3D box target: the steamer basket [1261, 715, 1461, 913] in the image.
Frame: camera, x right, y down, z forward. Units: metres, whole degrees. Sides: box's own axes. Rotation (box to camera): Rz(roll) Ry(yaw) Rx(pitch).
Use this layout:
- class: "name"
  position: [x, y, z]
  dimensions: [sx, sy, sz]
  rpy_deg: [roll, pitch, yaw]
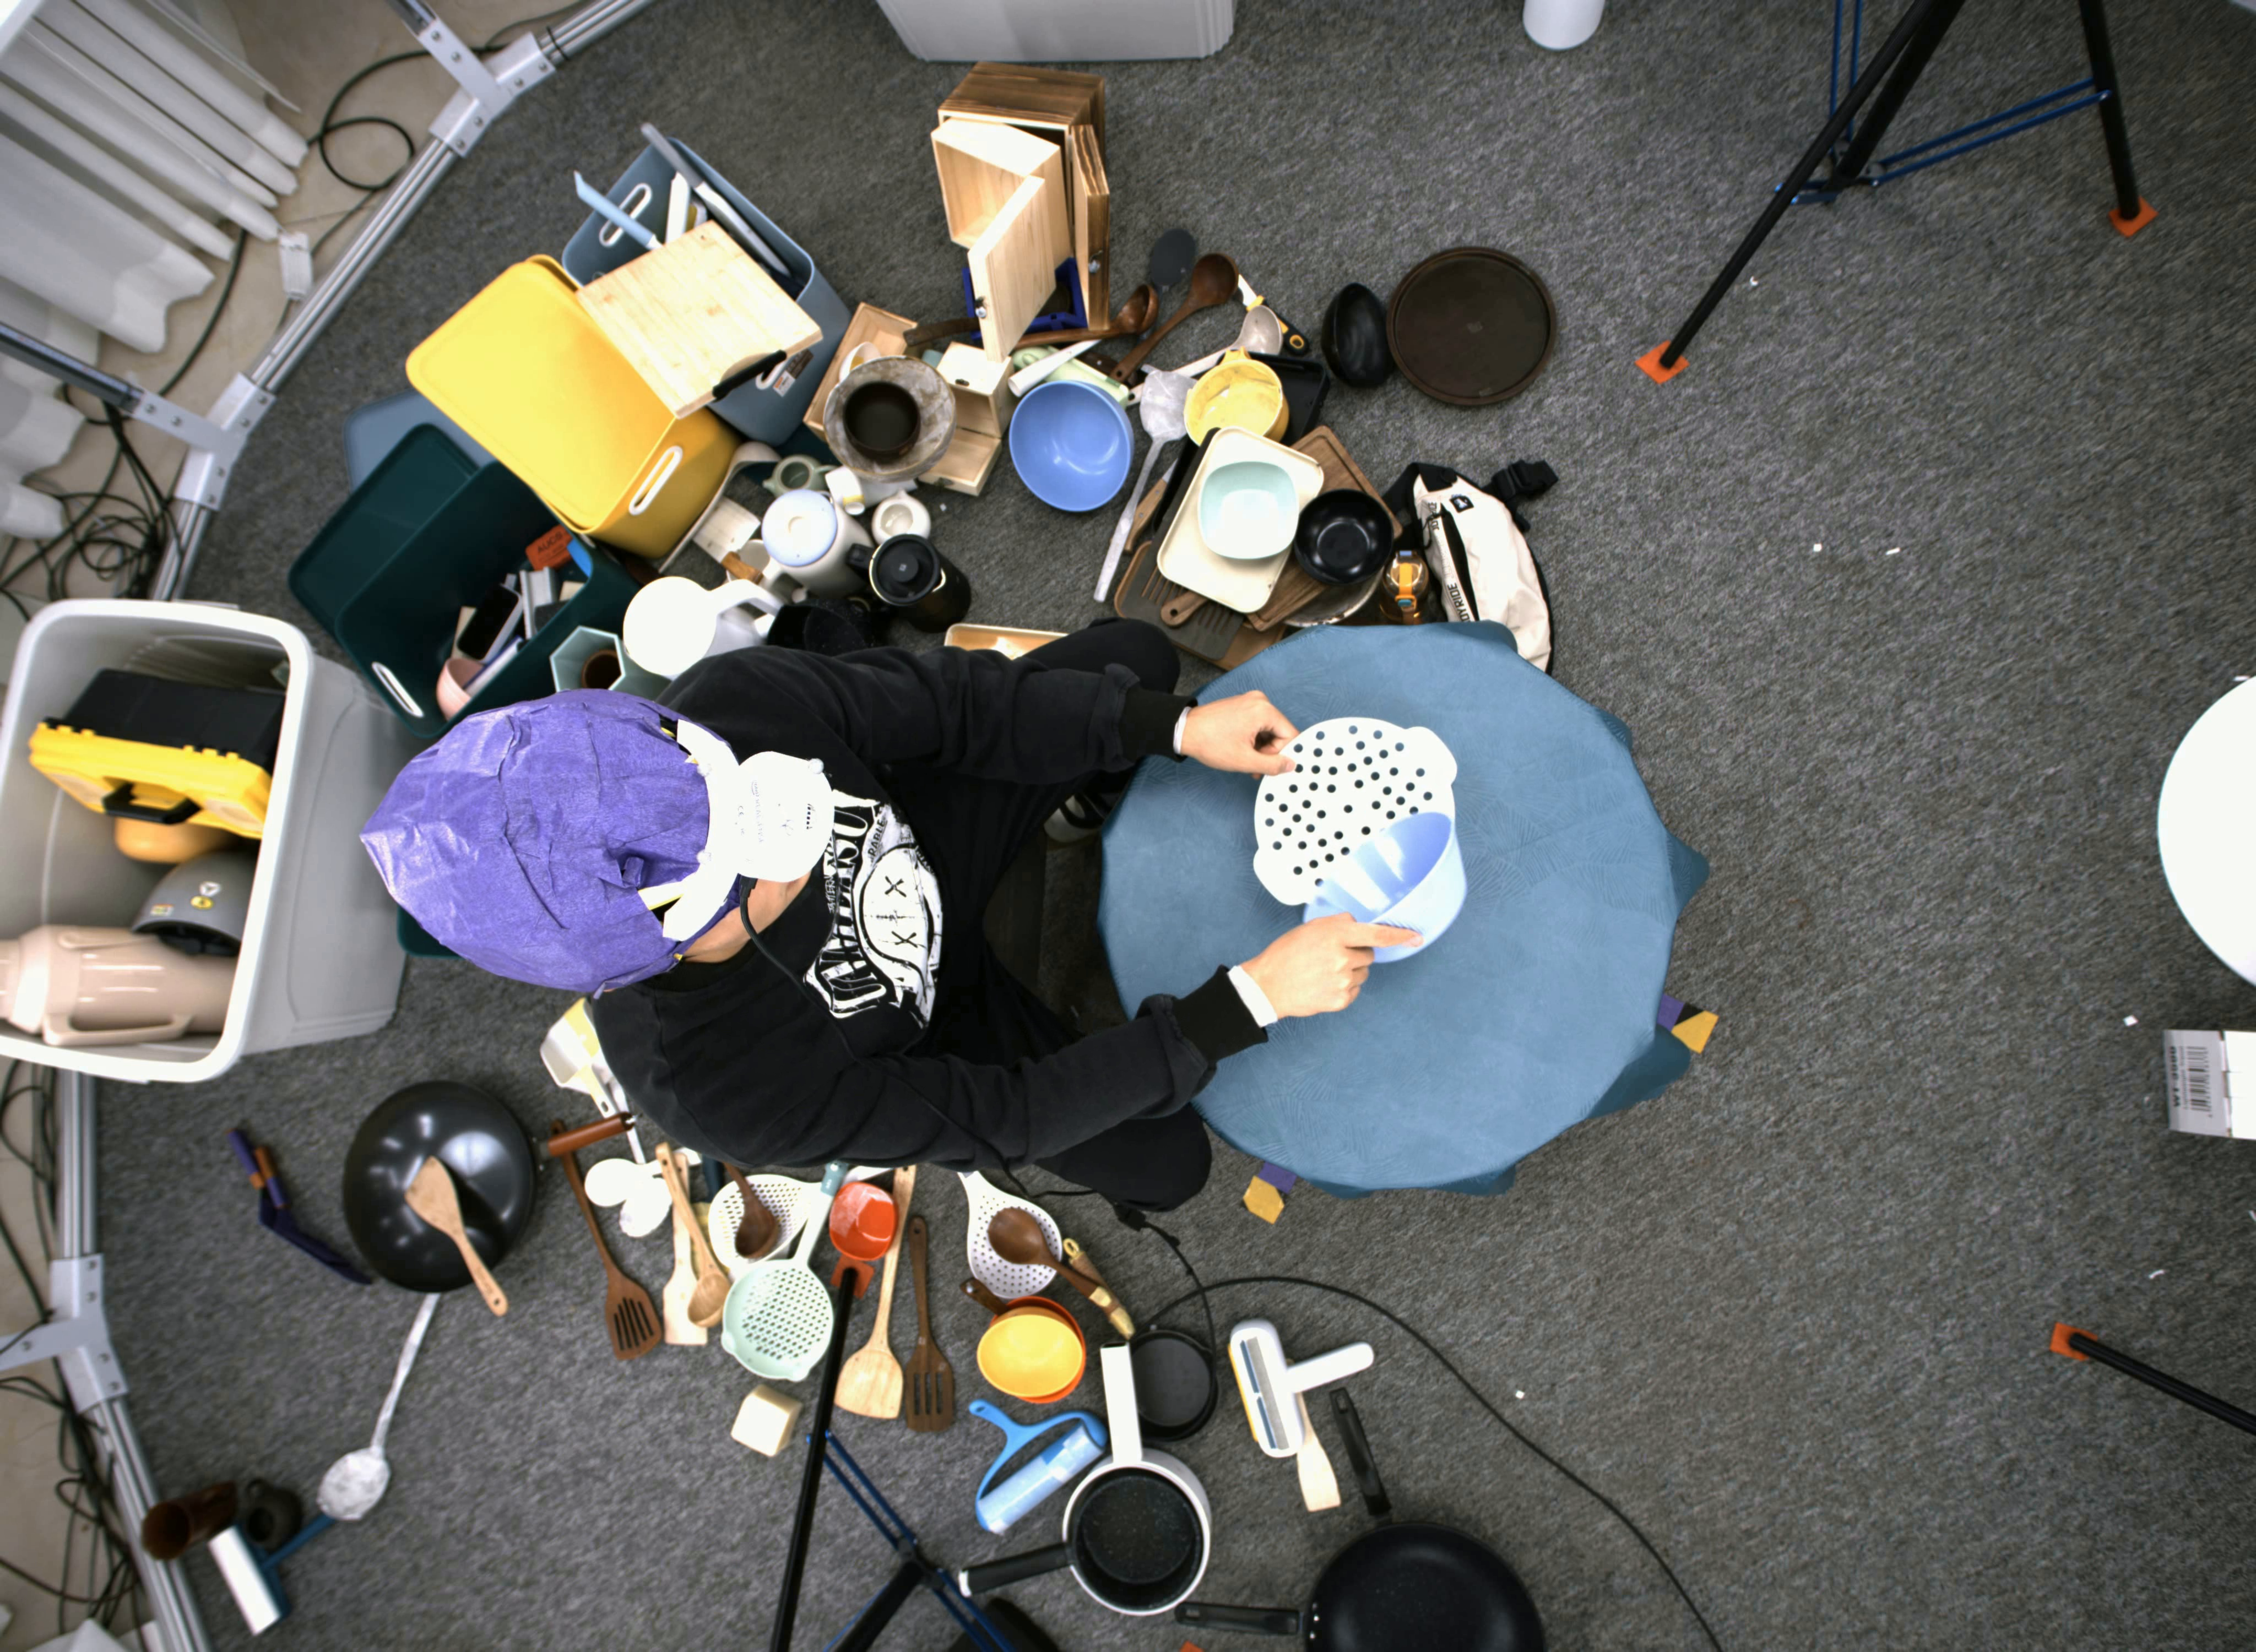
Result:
- class: "steamer basket"
  position: [0.236, -0.015, 1.421]
  dimensions: [0.232, 0.068, 0.202]
  rpy_deg: [-40, 96, 7]

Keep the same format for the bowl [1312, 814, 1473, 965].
- class: "bowl"
  position: [0.266, 0.070, 1.335]
  dimensions: [0.176, 0.174, 0.071]
  rpy_deg: [-42, 104, 3]
